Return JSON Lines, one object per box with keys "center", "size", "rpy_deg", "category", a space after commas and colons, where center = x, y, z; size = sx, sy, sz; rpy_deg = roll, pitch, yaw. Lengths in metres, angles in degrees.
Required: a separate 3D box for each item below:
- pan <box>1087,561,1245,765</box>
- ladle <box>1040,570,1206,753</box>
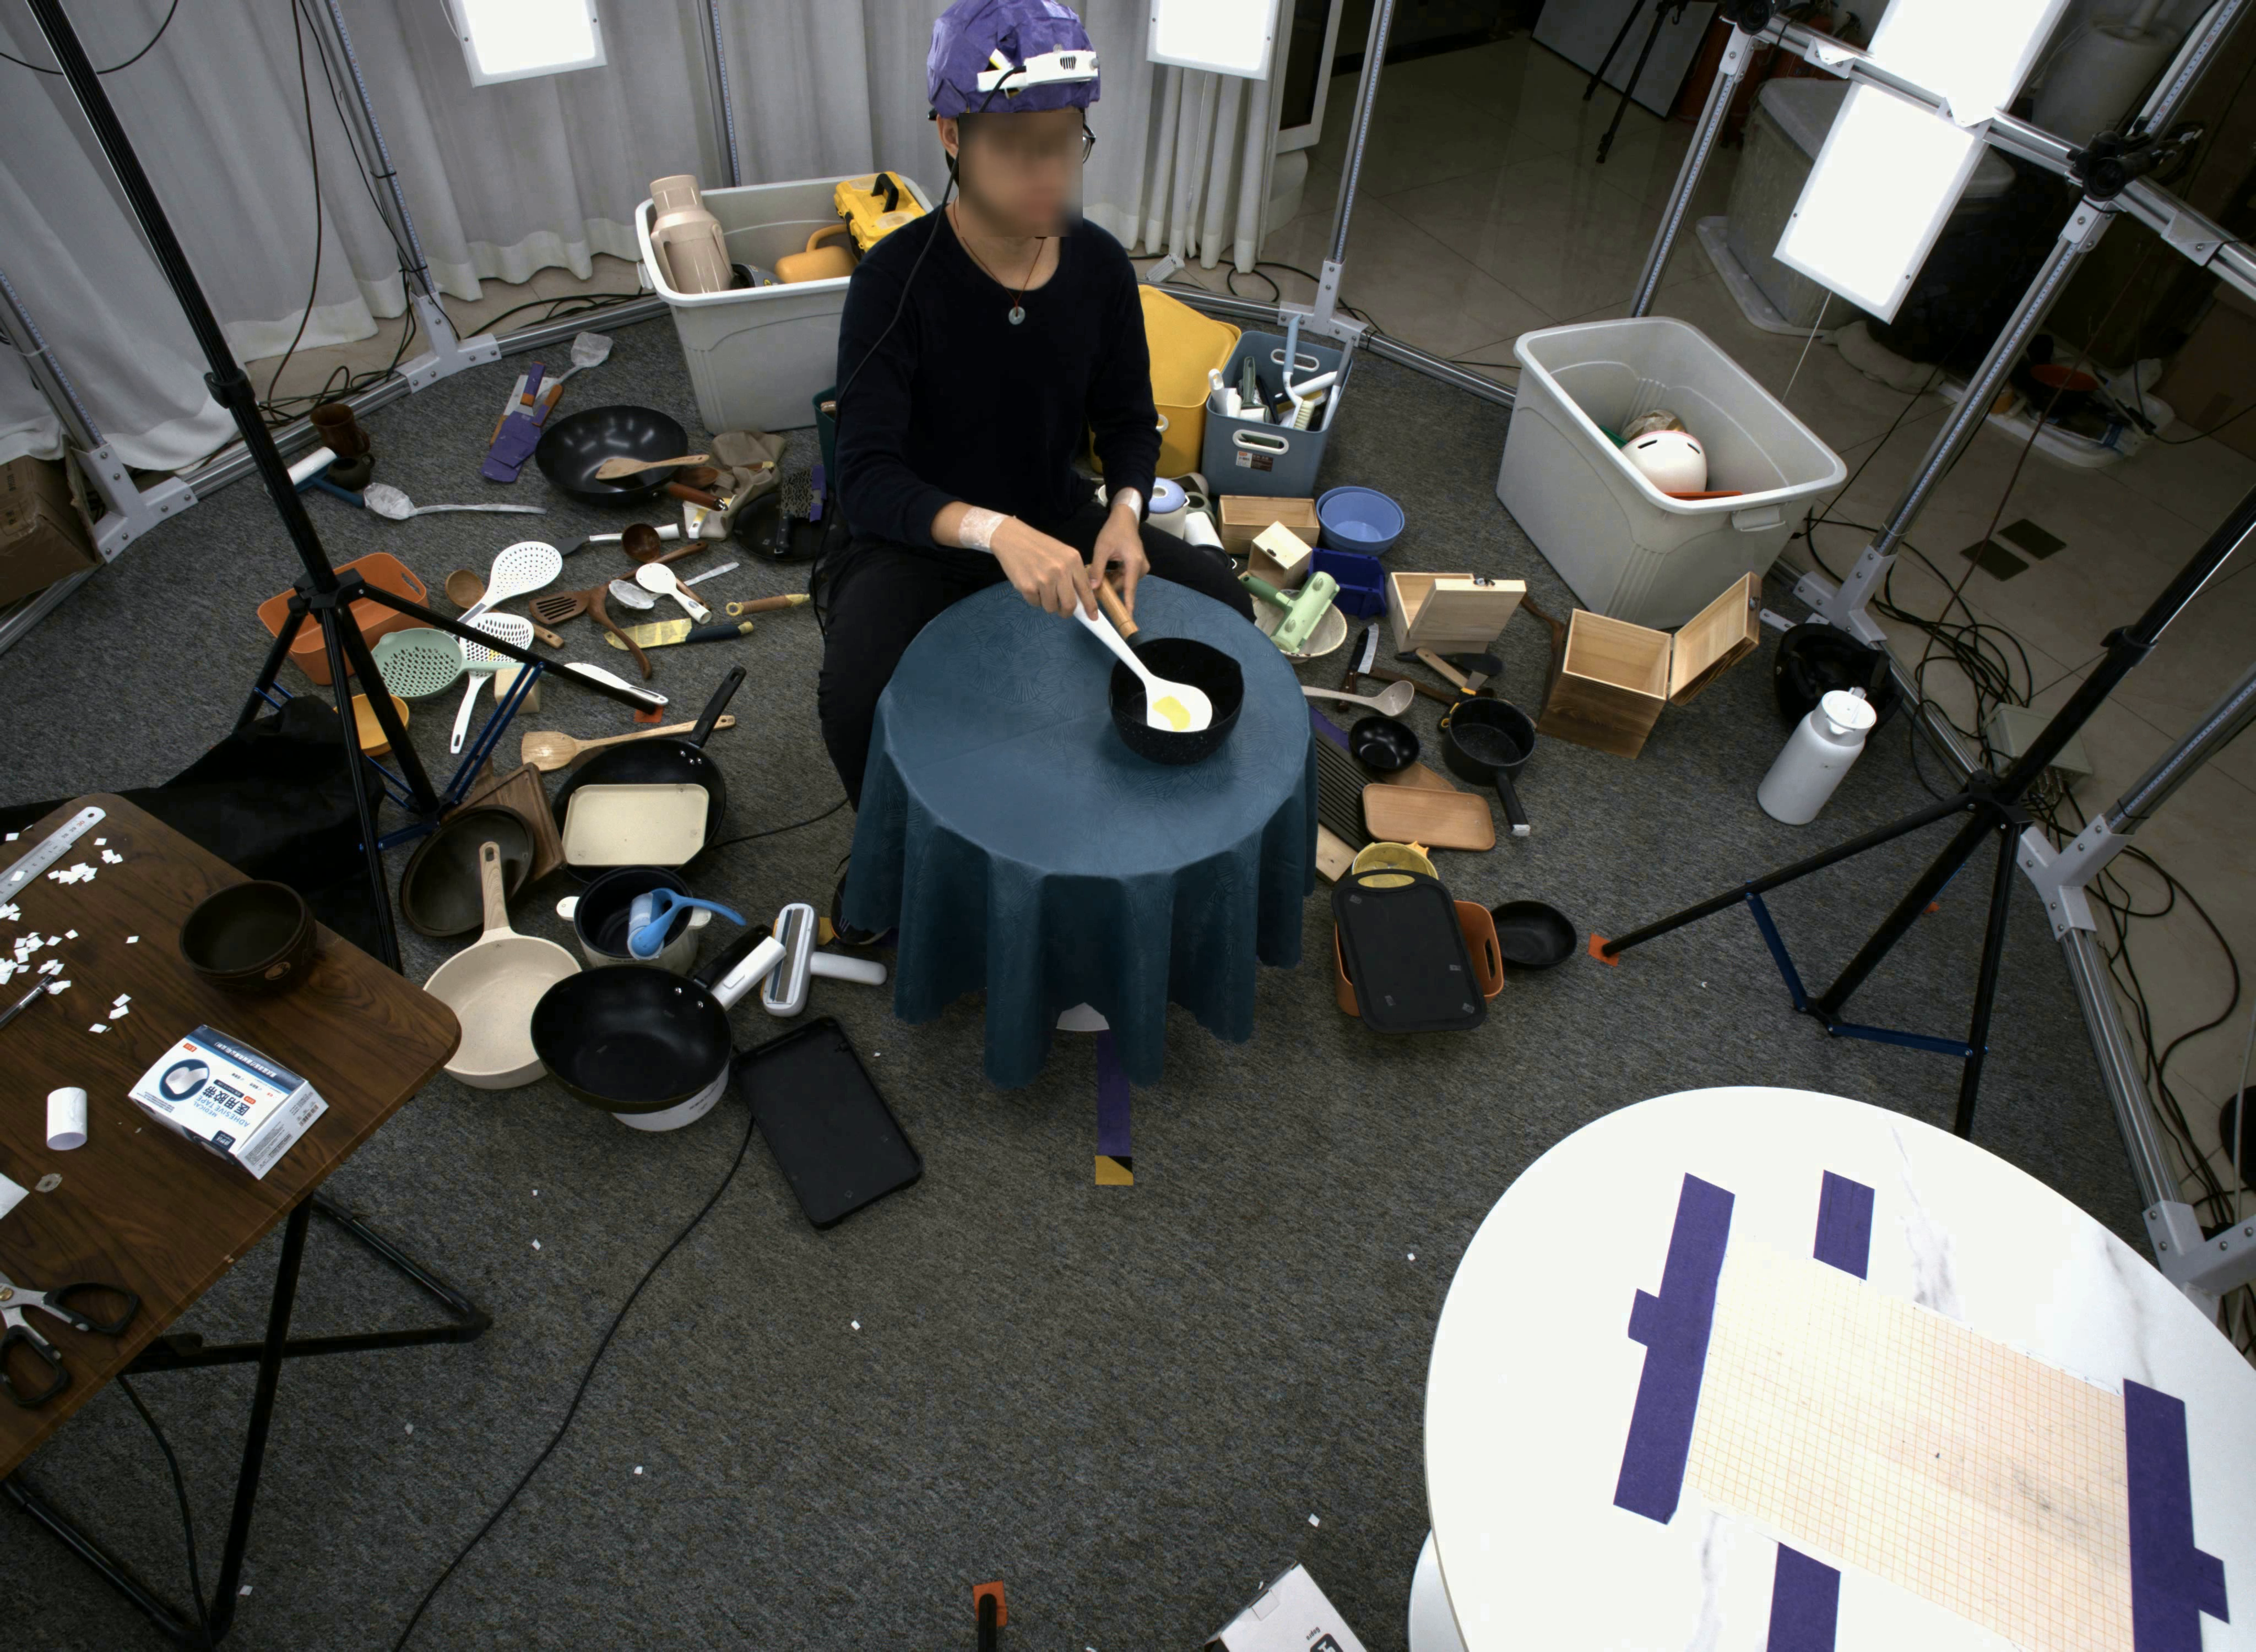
{"center": [0.026, -0.229, 1.799], "size": [0.208, 0.105, 0.350], "rpy_deg": [-22, 56, -20], "category": "pan"}
{"center": [-0.008, -0.209, 1.642], "size": [0.089, 0.287, 0.071], "rpy_deg": [-35, 36, 15], "category": "ladle"}
